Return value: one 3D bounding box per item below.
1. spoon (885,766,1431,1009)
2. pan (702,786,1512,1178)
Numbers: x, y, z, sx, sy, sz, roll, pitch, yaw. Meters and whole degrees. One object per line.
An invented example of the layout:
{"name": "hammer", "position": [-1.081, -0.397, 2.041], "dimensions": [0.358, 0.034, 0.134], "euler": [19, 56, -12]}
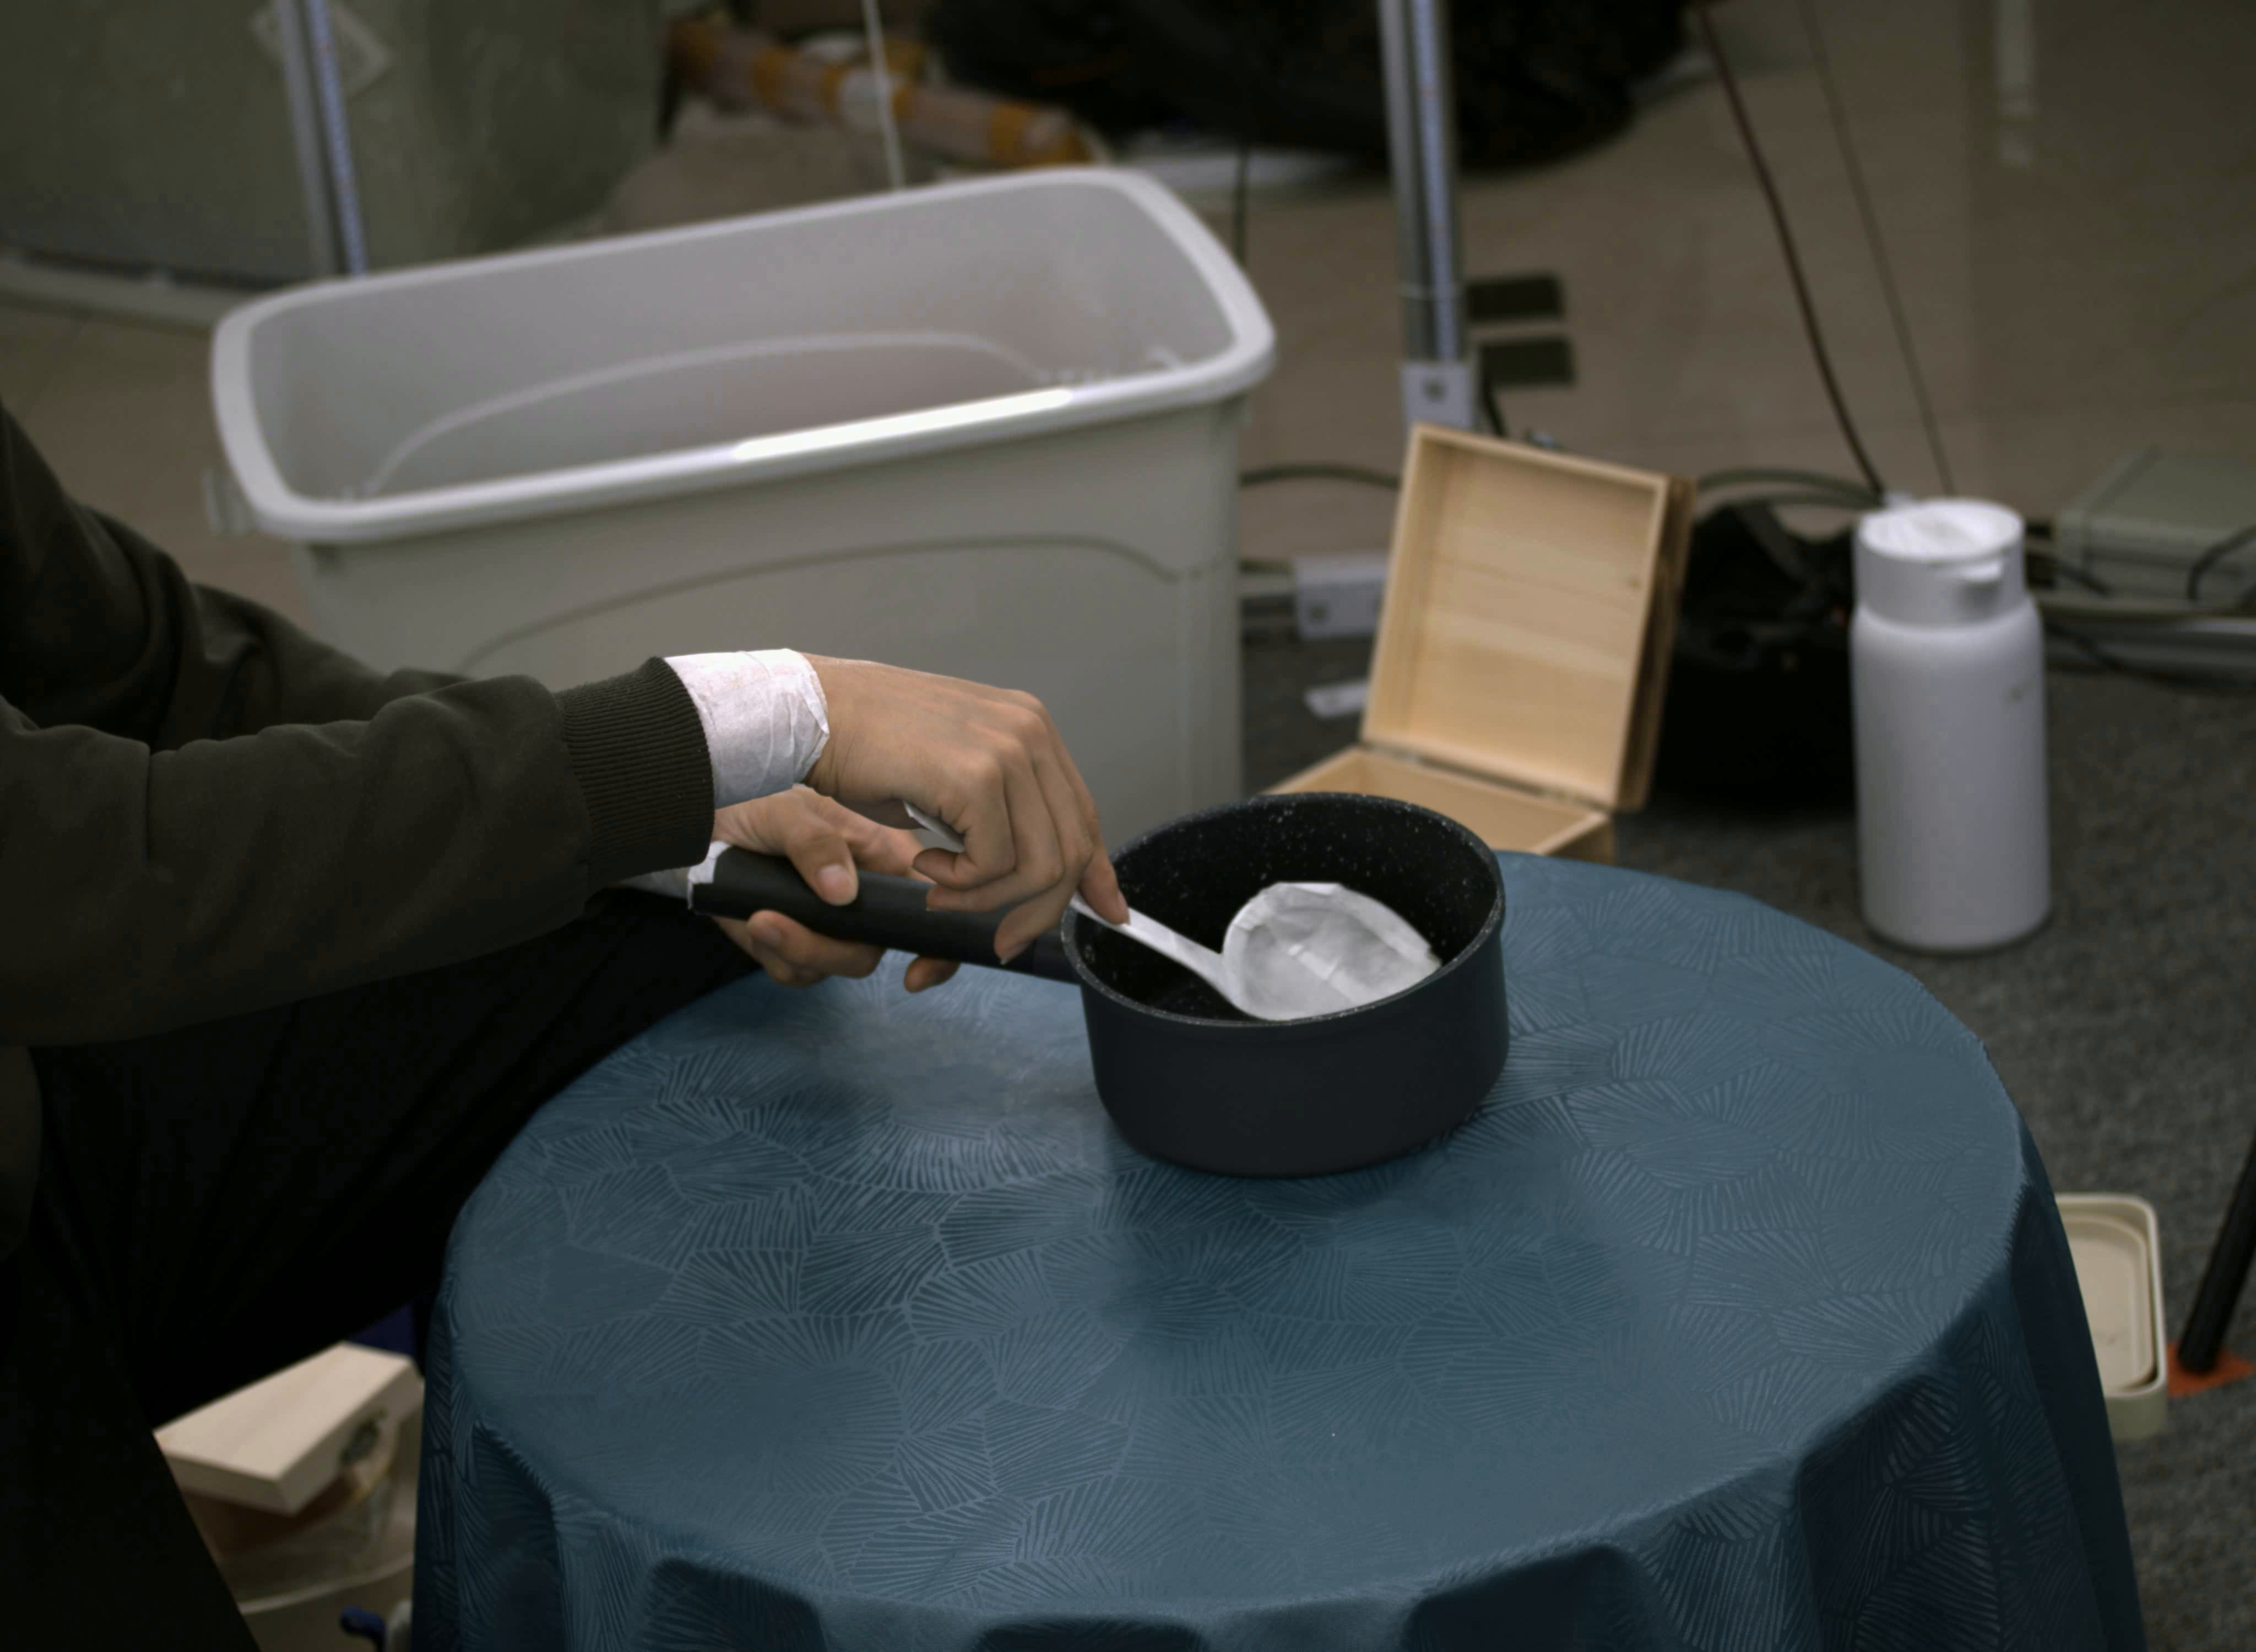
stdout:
{"name": "spoon", "position": [0.016, 0.018, 2.142], "dimensions": [0.060, 0.280, 0.099], "euler": [-36, 48, 21]}
{"name": "pan", "position": [-0.010, 0.054, 2.218], "dimensions": [0.328, 0.088, 0.169], "euler": [5, 32, 19]}
